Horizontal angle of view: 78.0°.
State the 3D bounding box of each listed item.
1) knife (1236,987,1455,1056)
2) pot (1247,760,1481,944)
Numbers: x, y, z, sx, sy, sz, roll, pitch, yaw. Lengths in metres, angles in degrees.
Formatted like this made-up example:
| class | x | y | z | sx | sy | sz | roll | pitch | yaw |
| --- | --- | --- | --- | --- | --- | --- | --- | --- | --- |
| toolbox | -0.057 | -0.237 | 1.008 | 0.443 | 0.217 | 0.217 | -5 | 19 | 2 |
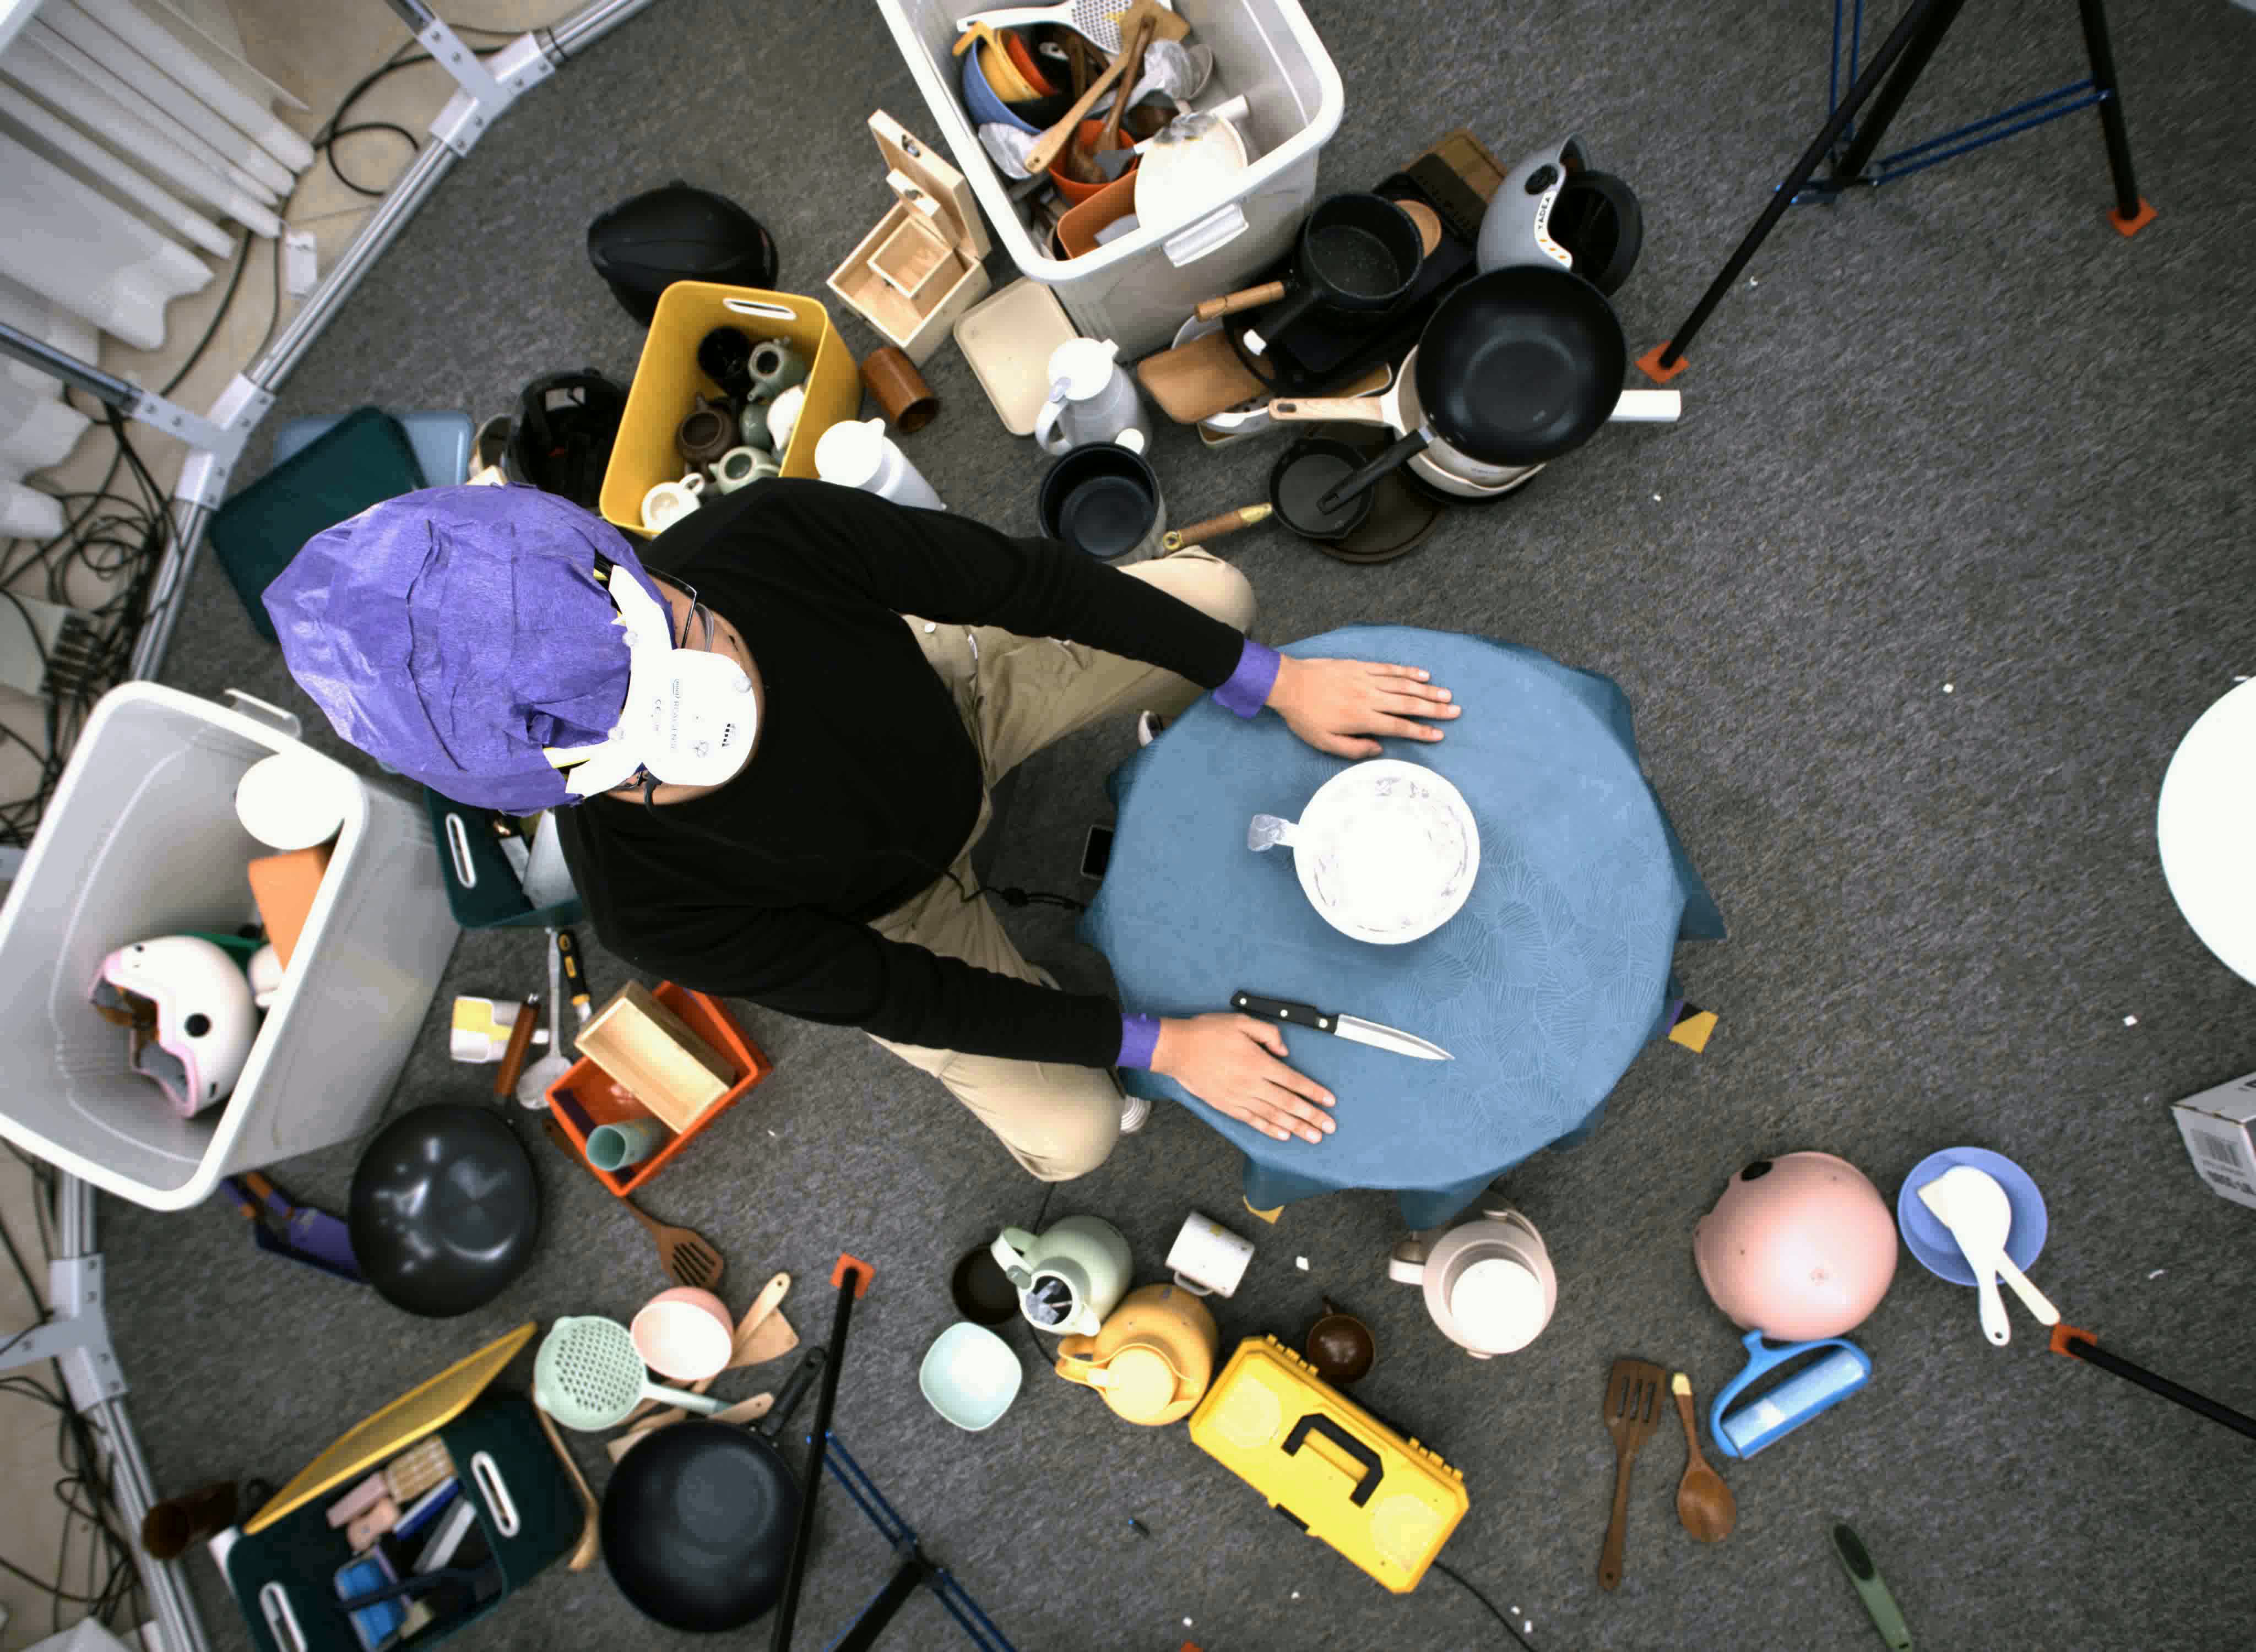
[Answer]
| class | x | y | z | sx | sy | sz | roll | pitch | yaw |
| --- | --- | --- | --- | --- | --- | --- | --- | --- | --- |
| knife | 0.227 | 0.209 | 1.457 | 0.238 | 0.016 | 0.024 | 14 | 88 | 8 |
| pot | 0.234 | 0.024 | 1.399 | 0.234 | 0.137 | 0.178 | 10 | 87 | 10 |
